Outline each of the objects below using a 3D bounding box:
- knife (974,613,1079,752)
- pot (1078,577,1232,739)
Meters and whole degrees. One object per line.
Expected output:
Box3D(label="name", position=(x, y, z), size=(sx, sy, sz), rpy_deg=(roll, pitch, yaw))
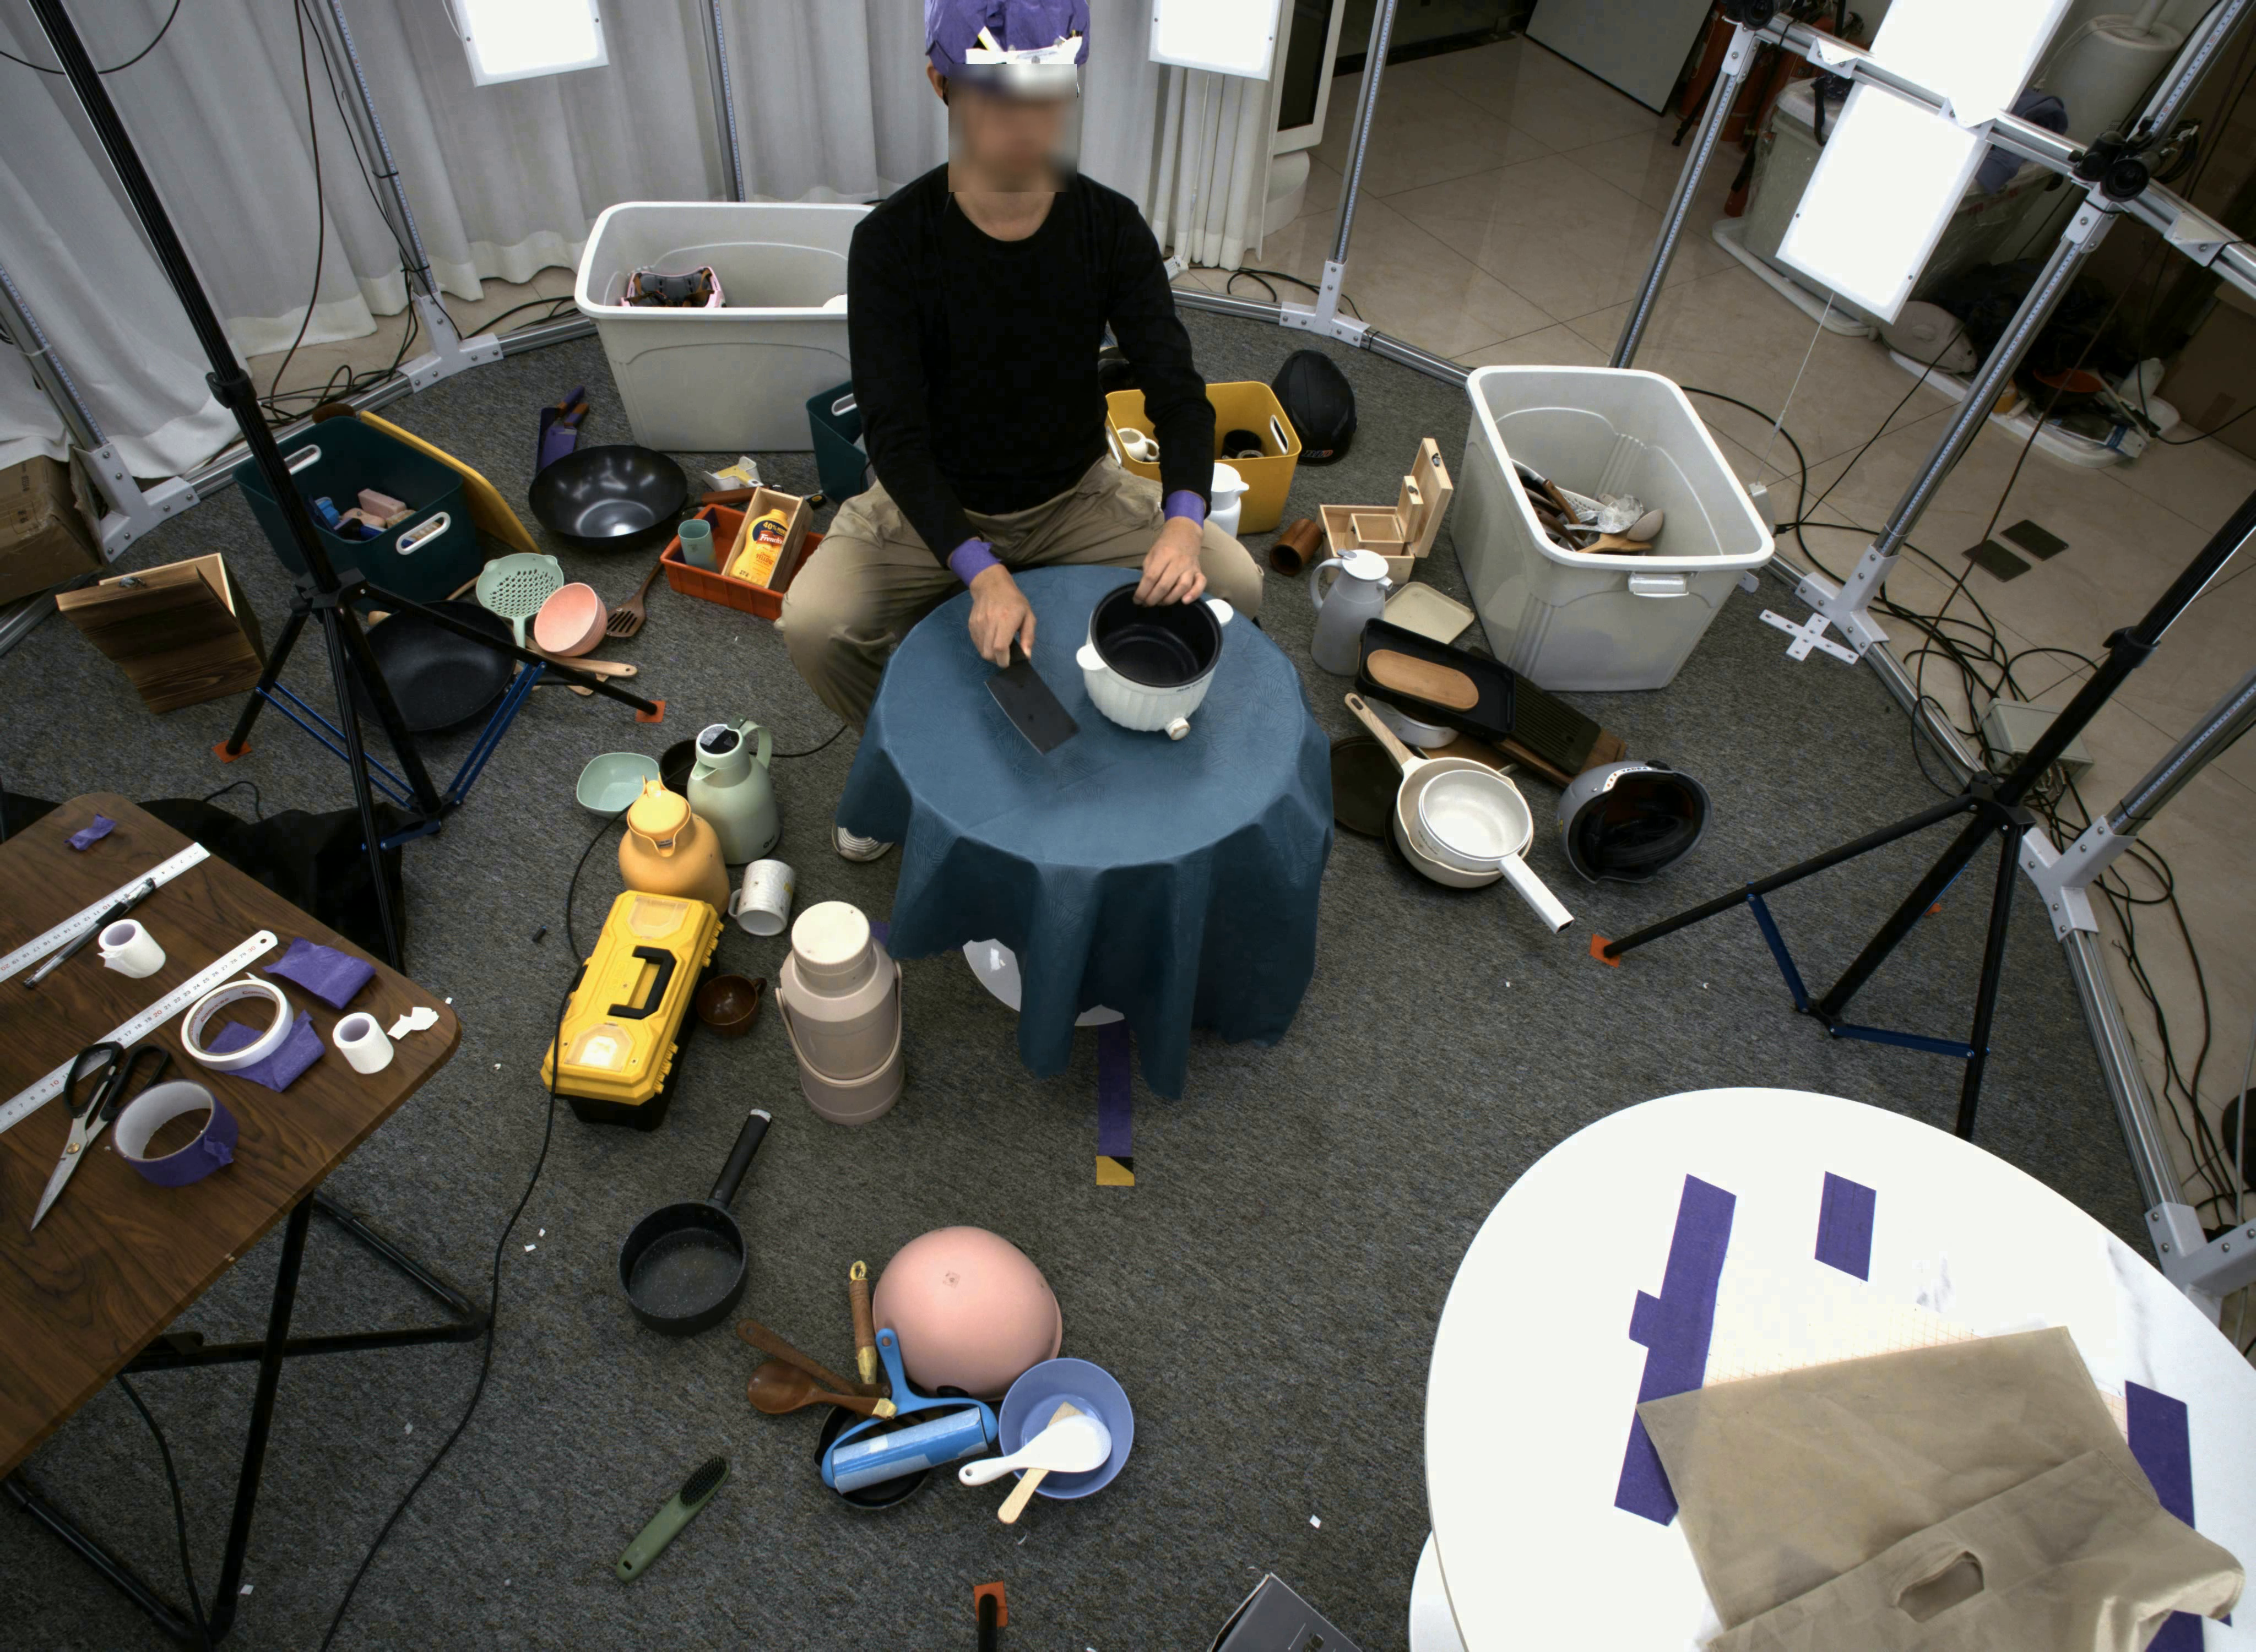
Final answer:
Box3D(label="knife", position=(-0.152, -0.203, 1.754), size=(0.081, 0.020, 0.309), rpy_deg=(-30, 47, -1))
Box3D(label="pot", position=(0.033, -0.224, 1.767), size=(0.241, 0.139, 0.194), rpy_deg=(-24, 63, -21))
